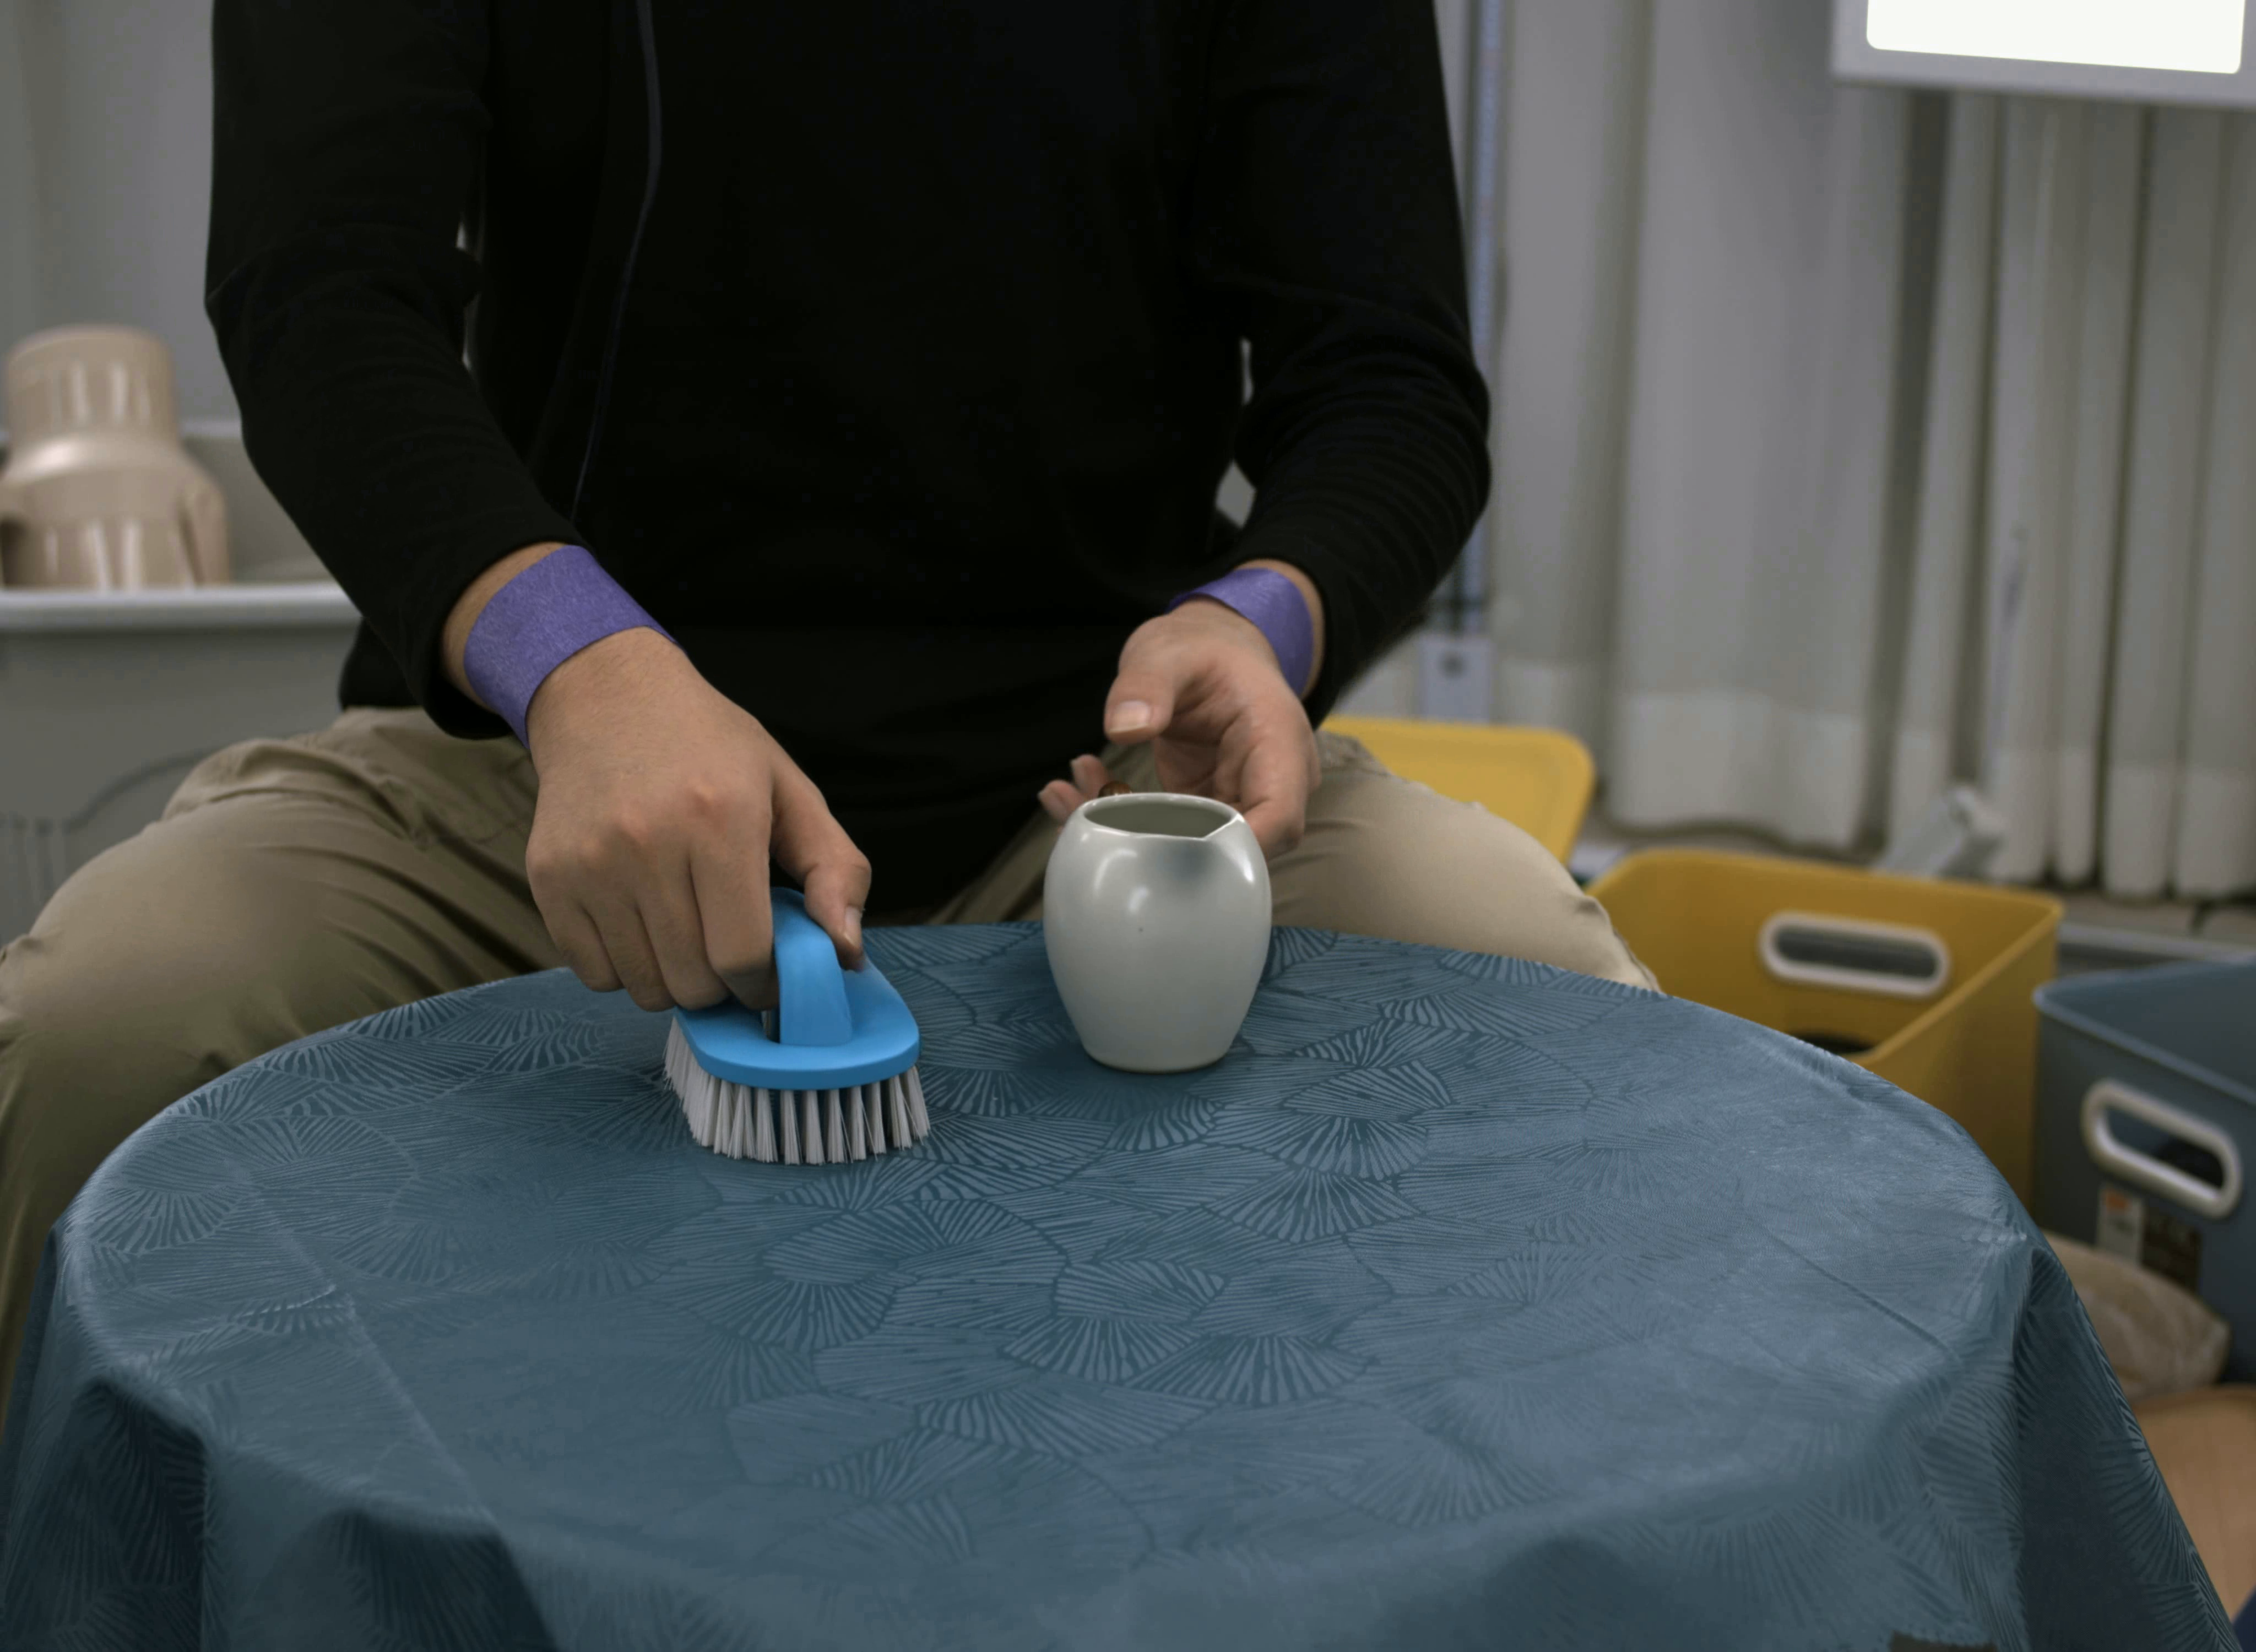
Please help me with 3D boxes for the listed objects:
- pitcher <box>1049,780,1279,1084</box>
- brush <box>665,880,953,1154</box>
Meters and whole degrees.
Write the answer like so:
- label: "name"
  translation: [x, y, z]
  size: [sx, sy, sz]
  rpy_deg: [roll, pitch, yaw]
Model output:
- label: "pitcher"
  translation: [0.010, 0.034, 1.740]
  size: [0.076, 0.088, 0.118]
  rpy_deg: [3, 18, -13]
- label: "brush"
  translation: [-0.106, 0.055, 1.699]
  size: [0.084, 0.064, 0.140]
  rpy_deg: [-7, 16, -10]
